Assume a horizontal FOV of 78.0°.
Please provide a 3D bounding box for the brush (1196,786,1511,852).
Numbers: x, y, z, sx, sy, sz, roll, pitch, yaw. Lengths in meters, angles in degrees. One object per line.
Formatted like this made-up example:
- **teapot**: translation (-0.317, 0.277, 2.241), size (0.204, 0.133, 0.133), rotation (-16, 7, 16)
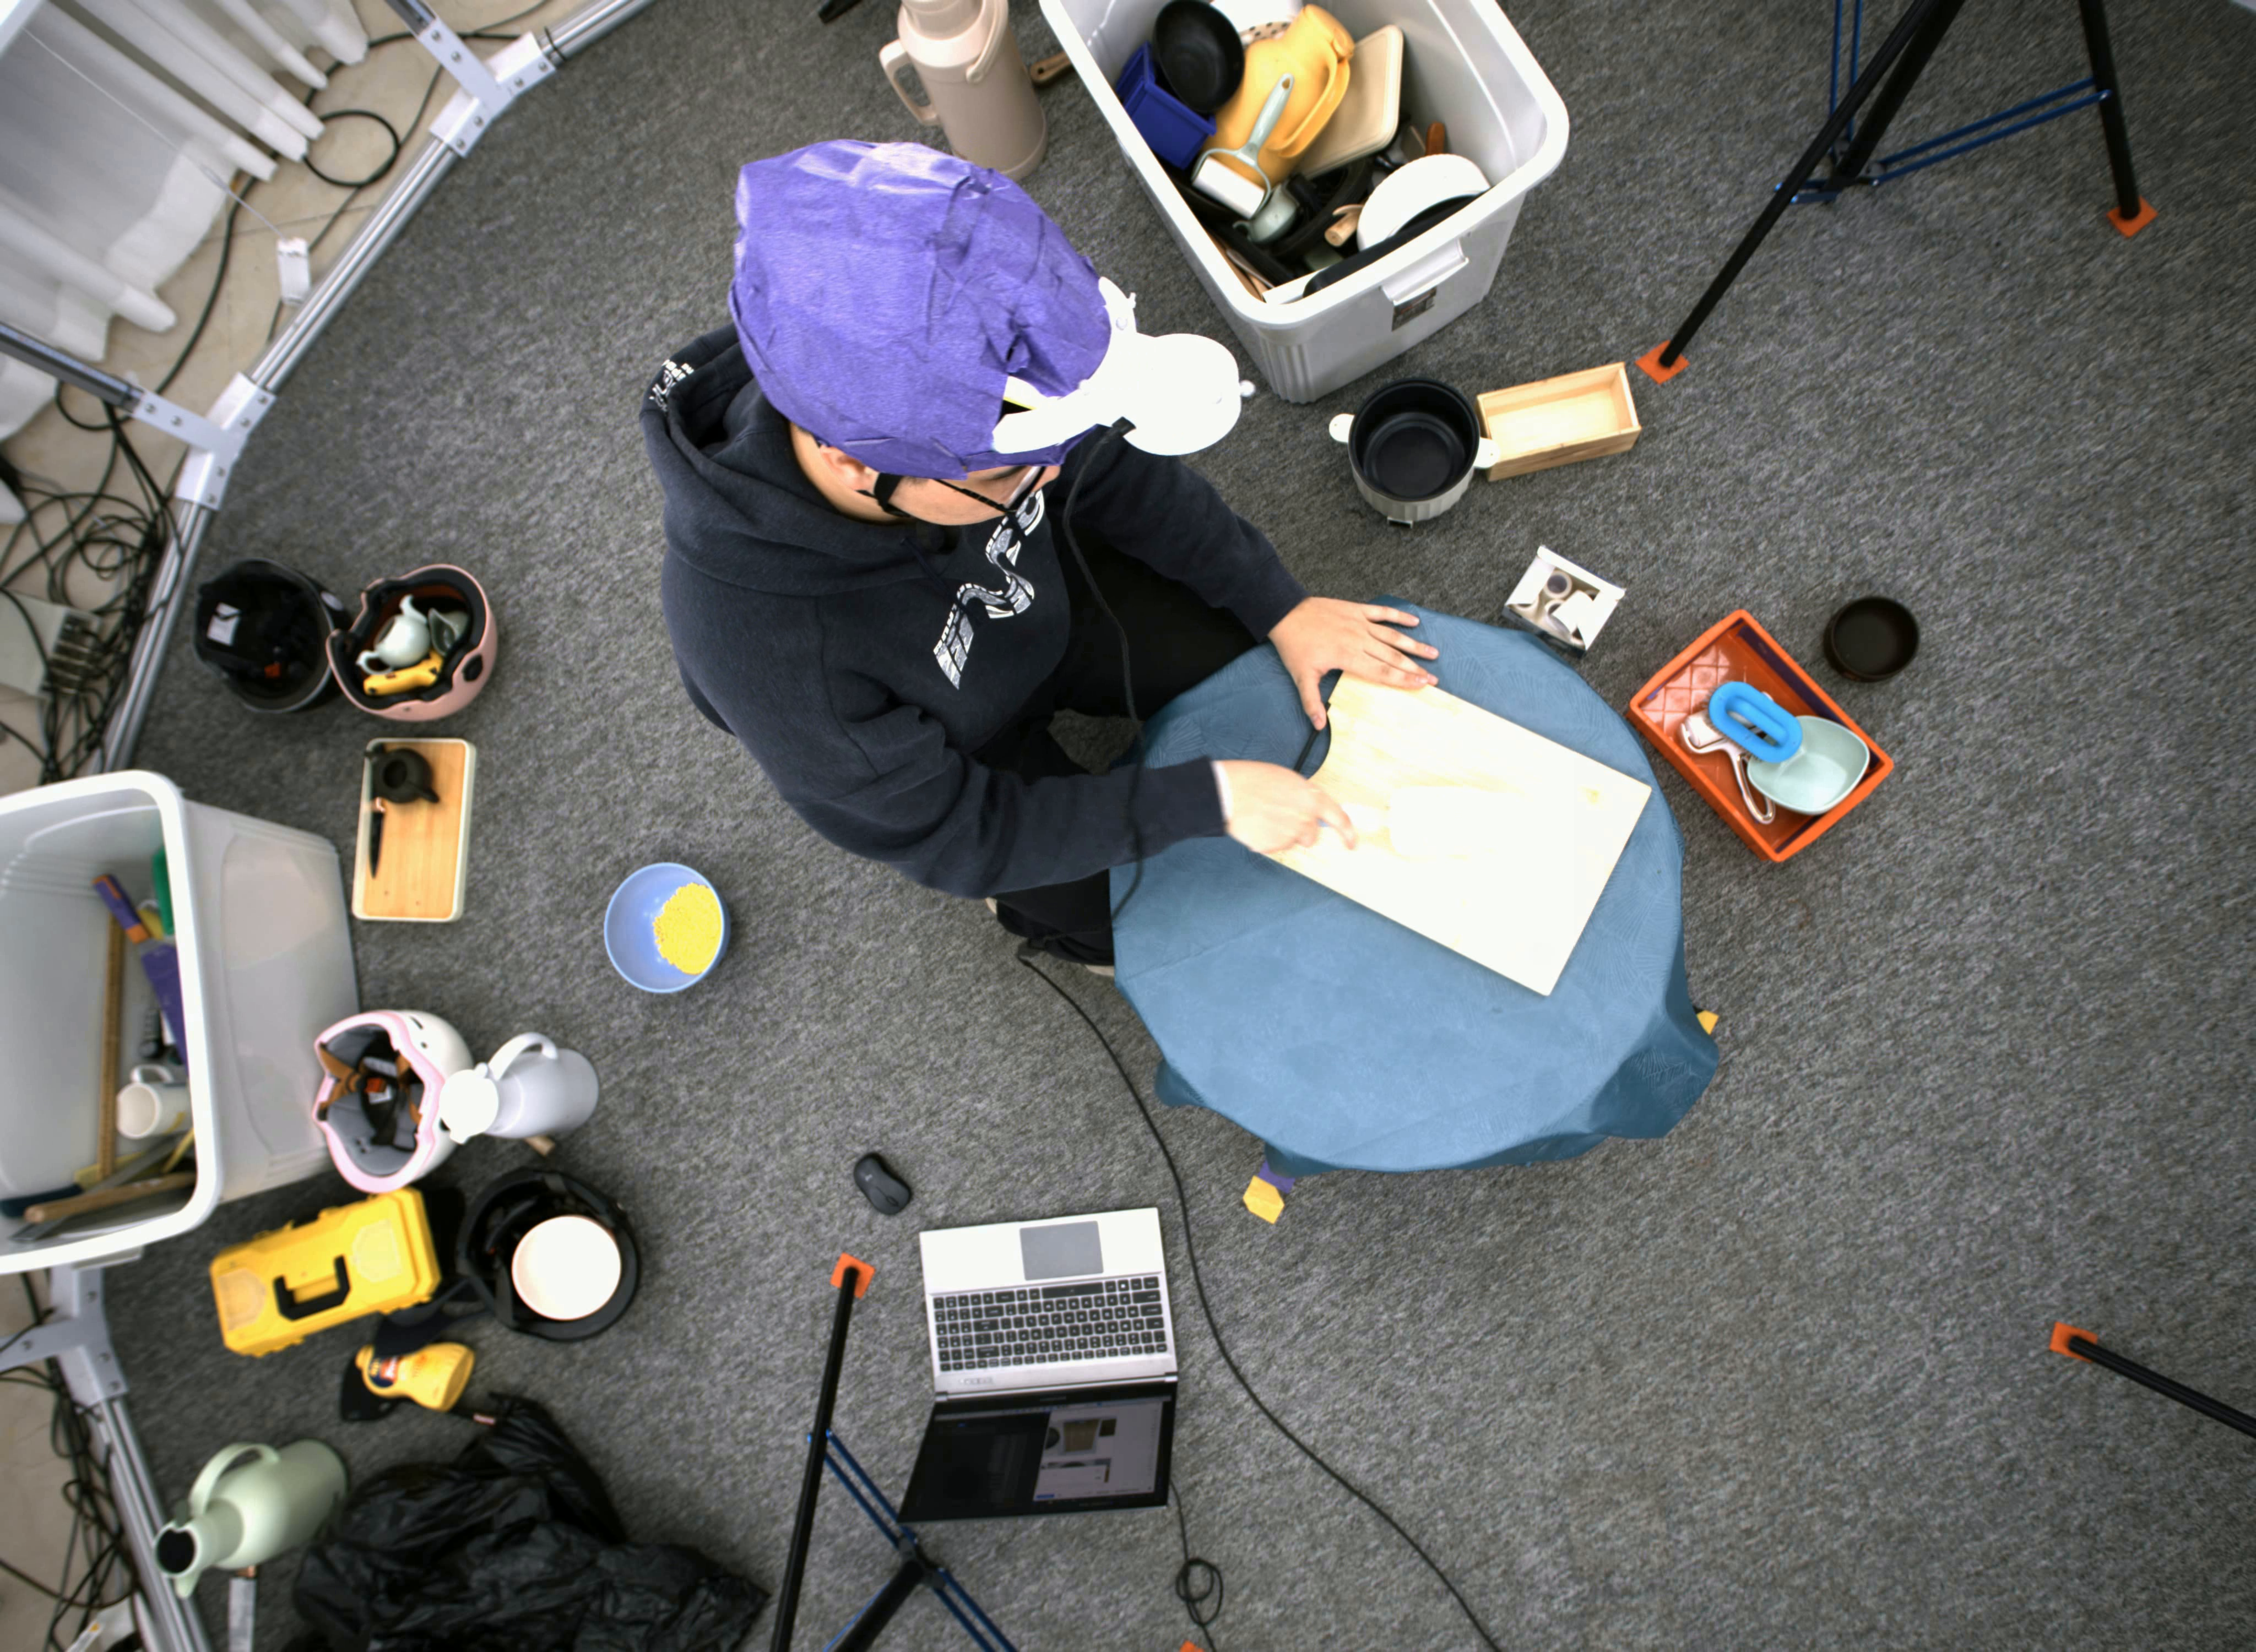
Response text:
- **brush**: translation (0.227, -0.012, 1.409), size (0.325, 0.087, 0.081), rotation (-1, 52, -3)

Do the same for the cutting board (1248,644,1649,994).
- **cutting board**: translation (0.332, -0.011, 1.446), size (0.348, 0.023, 0.251), rotation (26, 91, 11)
